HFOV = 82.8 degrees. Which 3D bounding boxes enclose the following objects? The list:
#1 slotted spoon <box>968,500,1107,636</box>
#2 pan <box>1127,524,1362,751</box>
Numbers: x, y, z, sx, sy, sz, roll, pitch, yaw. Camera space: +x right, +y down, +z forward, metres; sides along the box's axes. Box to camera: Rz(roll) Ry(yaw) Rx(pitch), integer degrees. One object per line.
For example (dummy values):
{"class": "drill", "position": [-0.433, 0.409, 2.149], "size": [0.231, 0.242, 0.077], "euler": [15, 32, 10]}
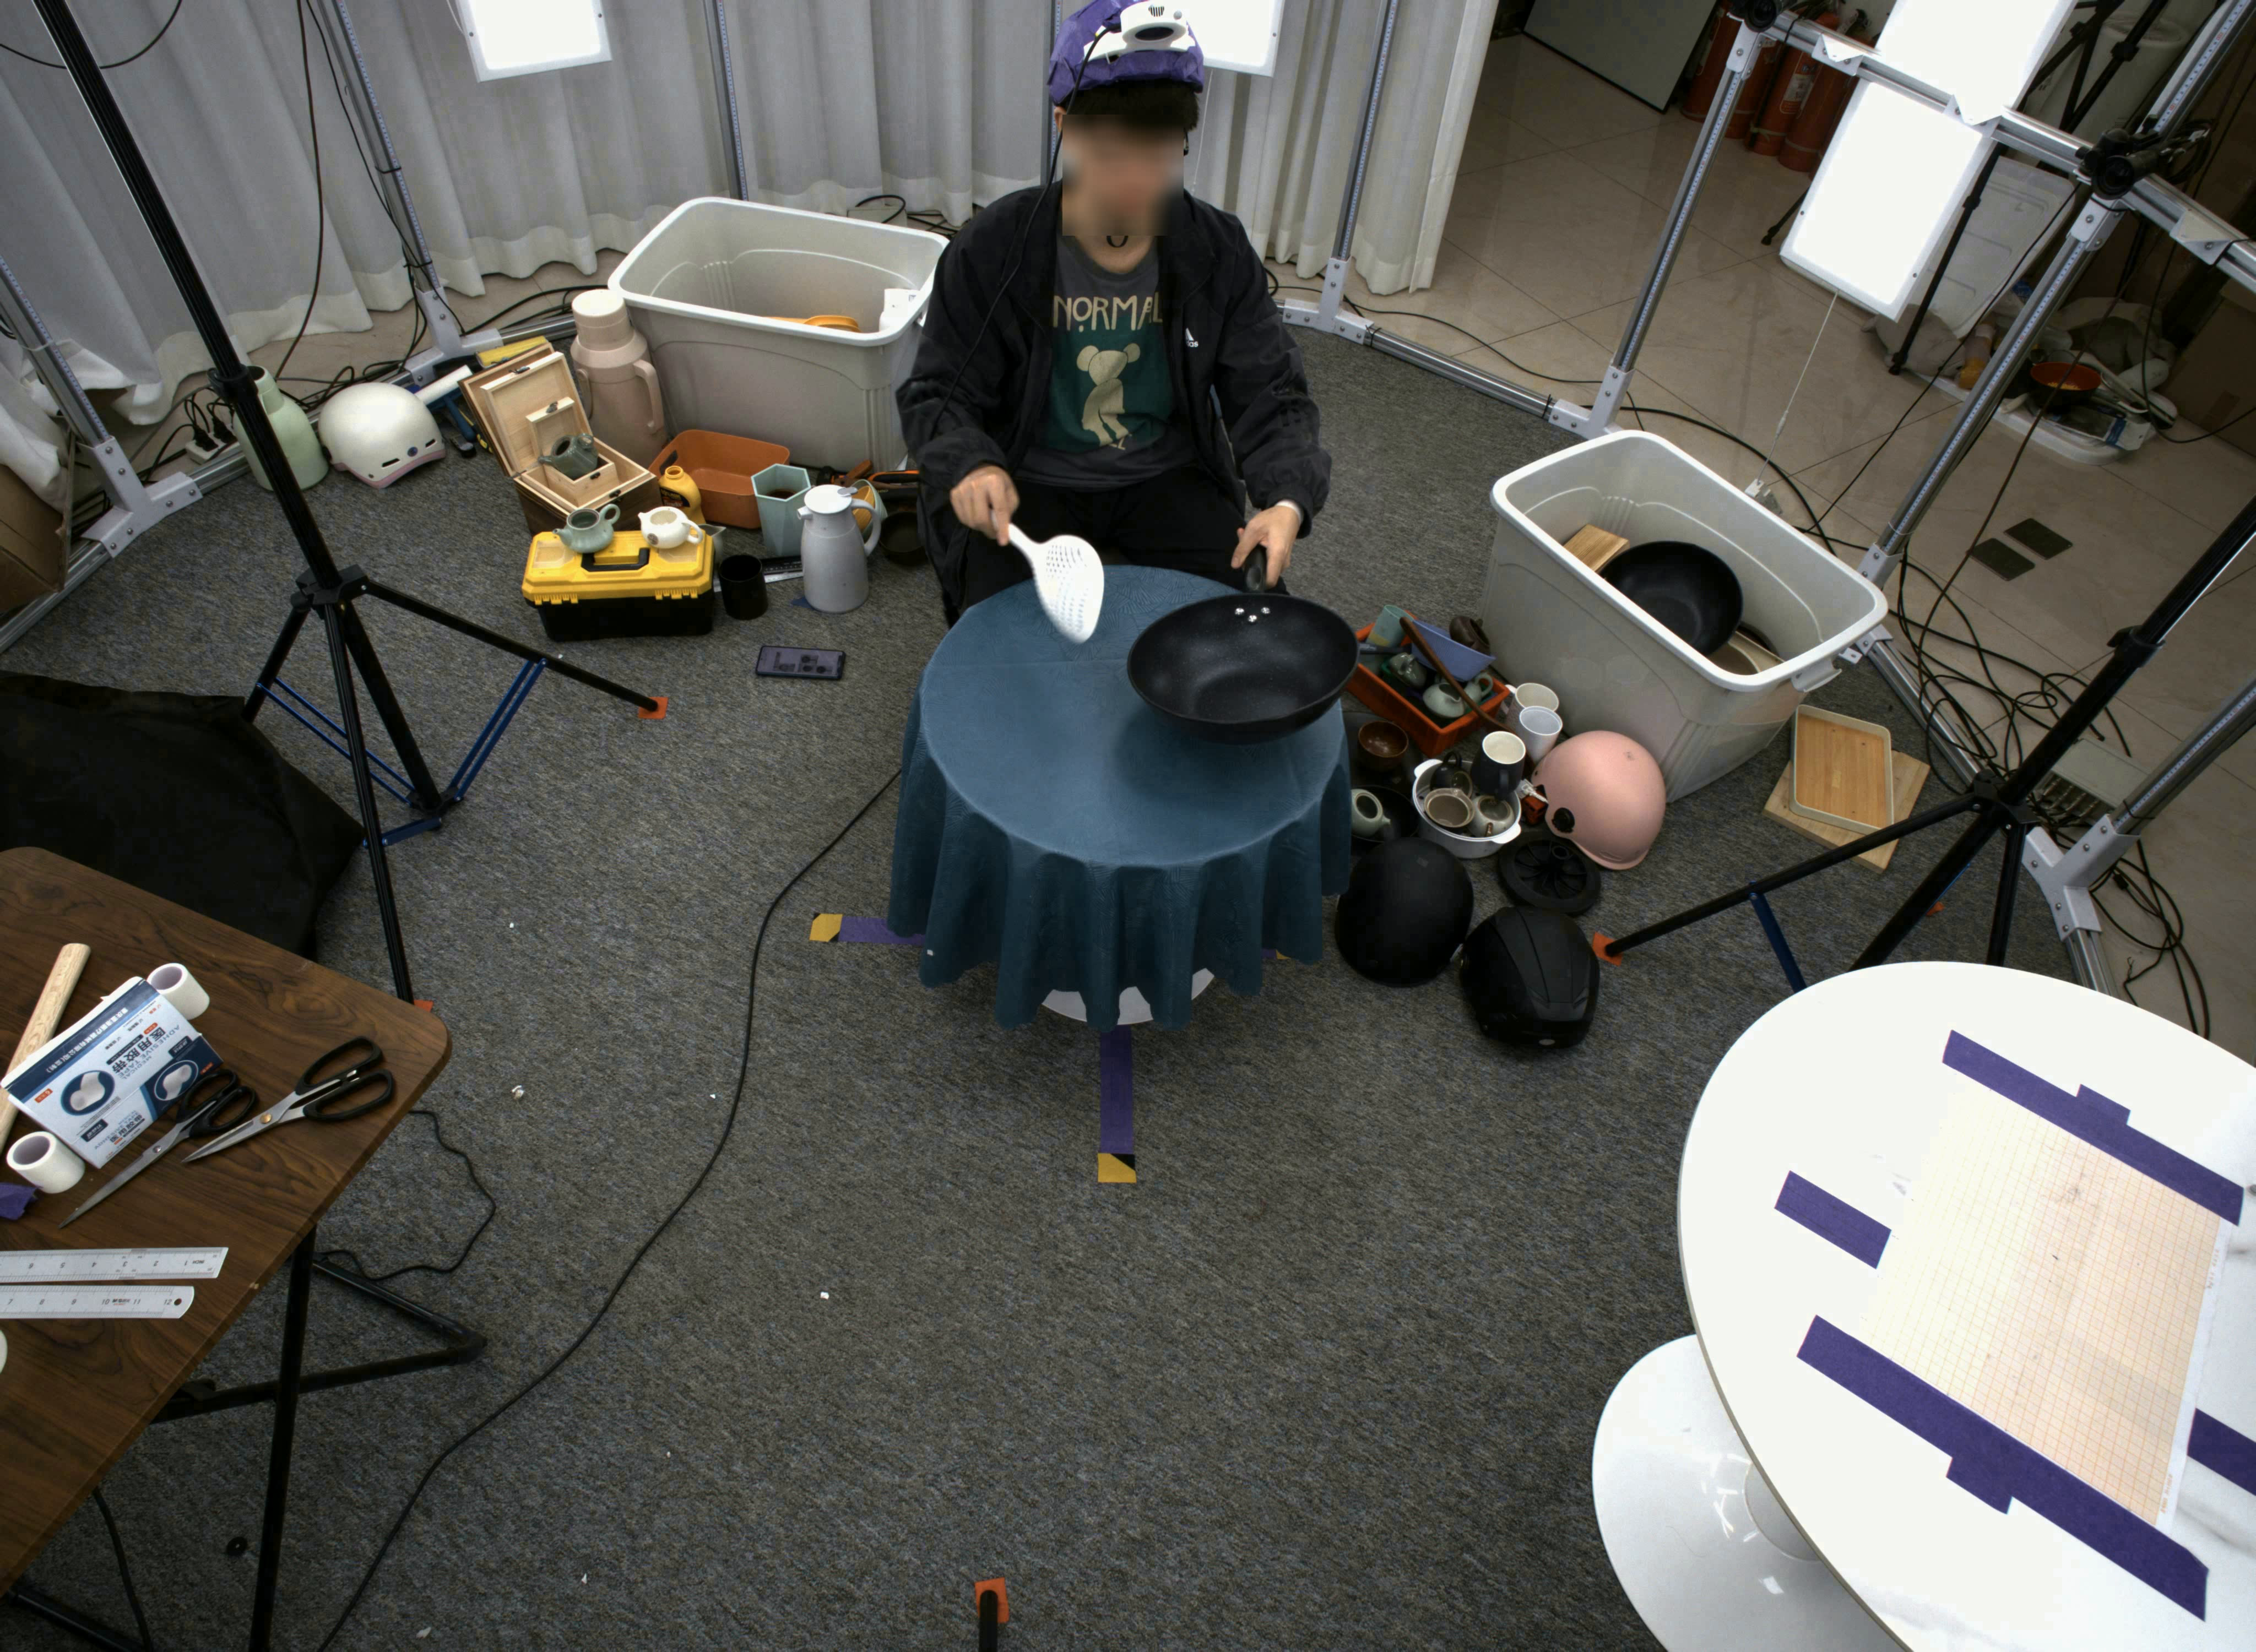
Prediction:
{"class": "slotted spoon", "position": [-0.131, -0.379, 1.791], "size": [0.050, 0.134, 0.355], "euler": [-13, 38, -26]}
{"class": "pan", "position": [0.167, -0.255, 1.779], "size": [0.310, 0.109, 0.488], "euler": [1, 40, 10]}
